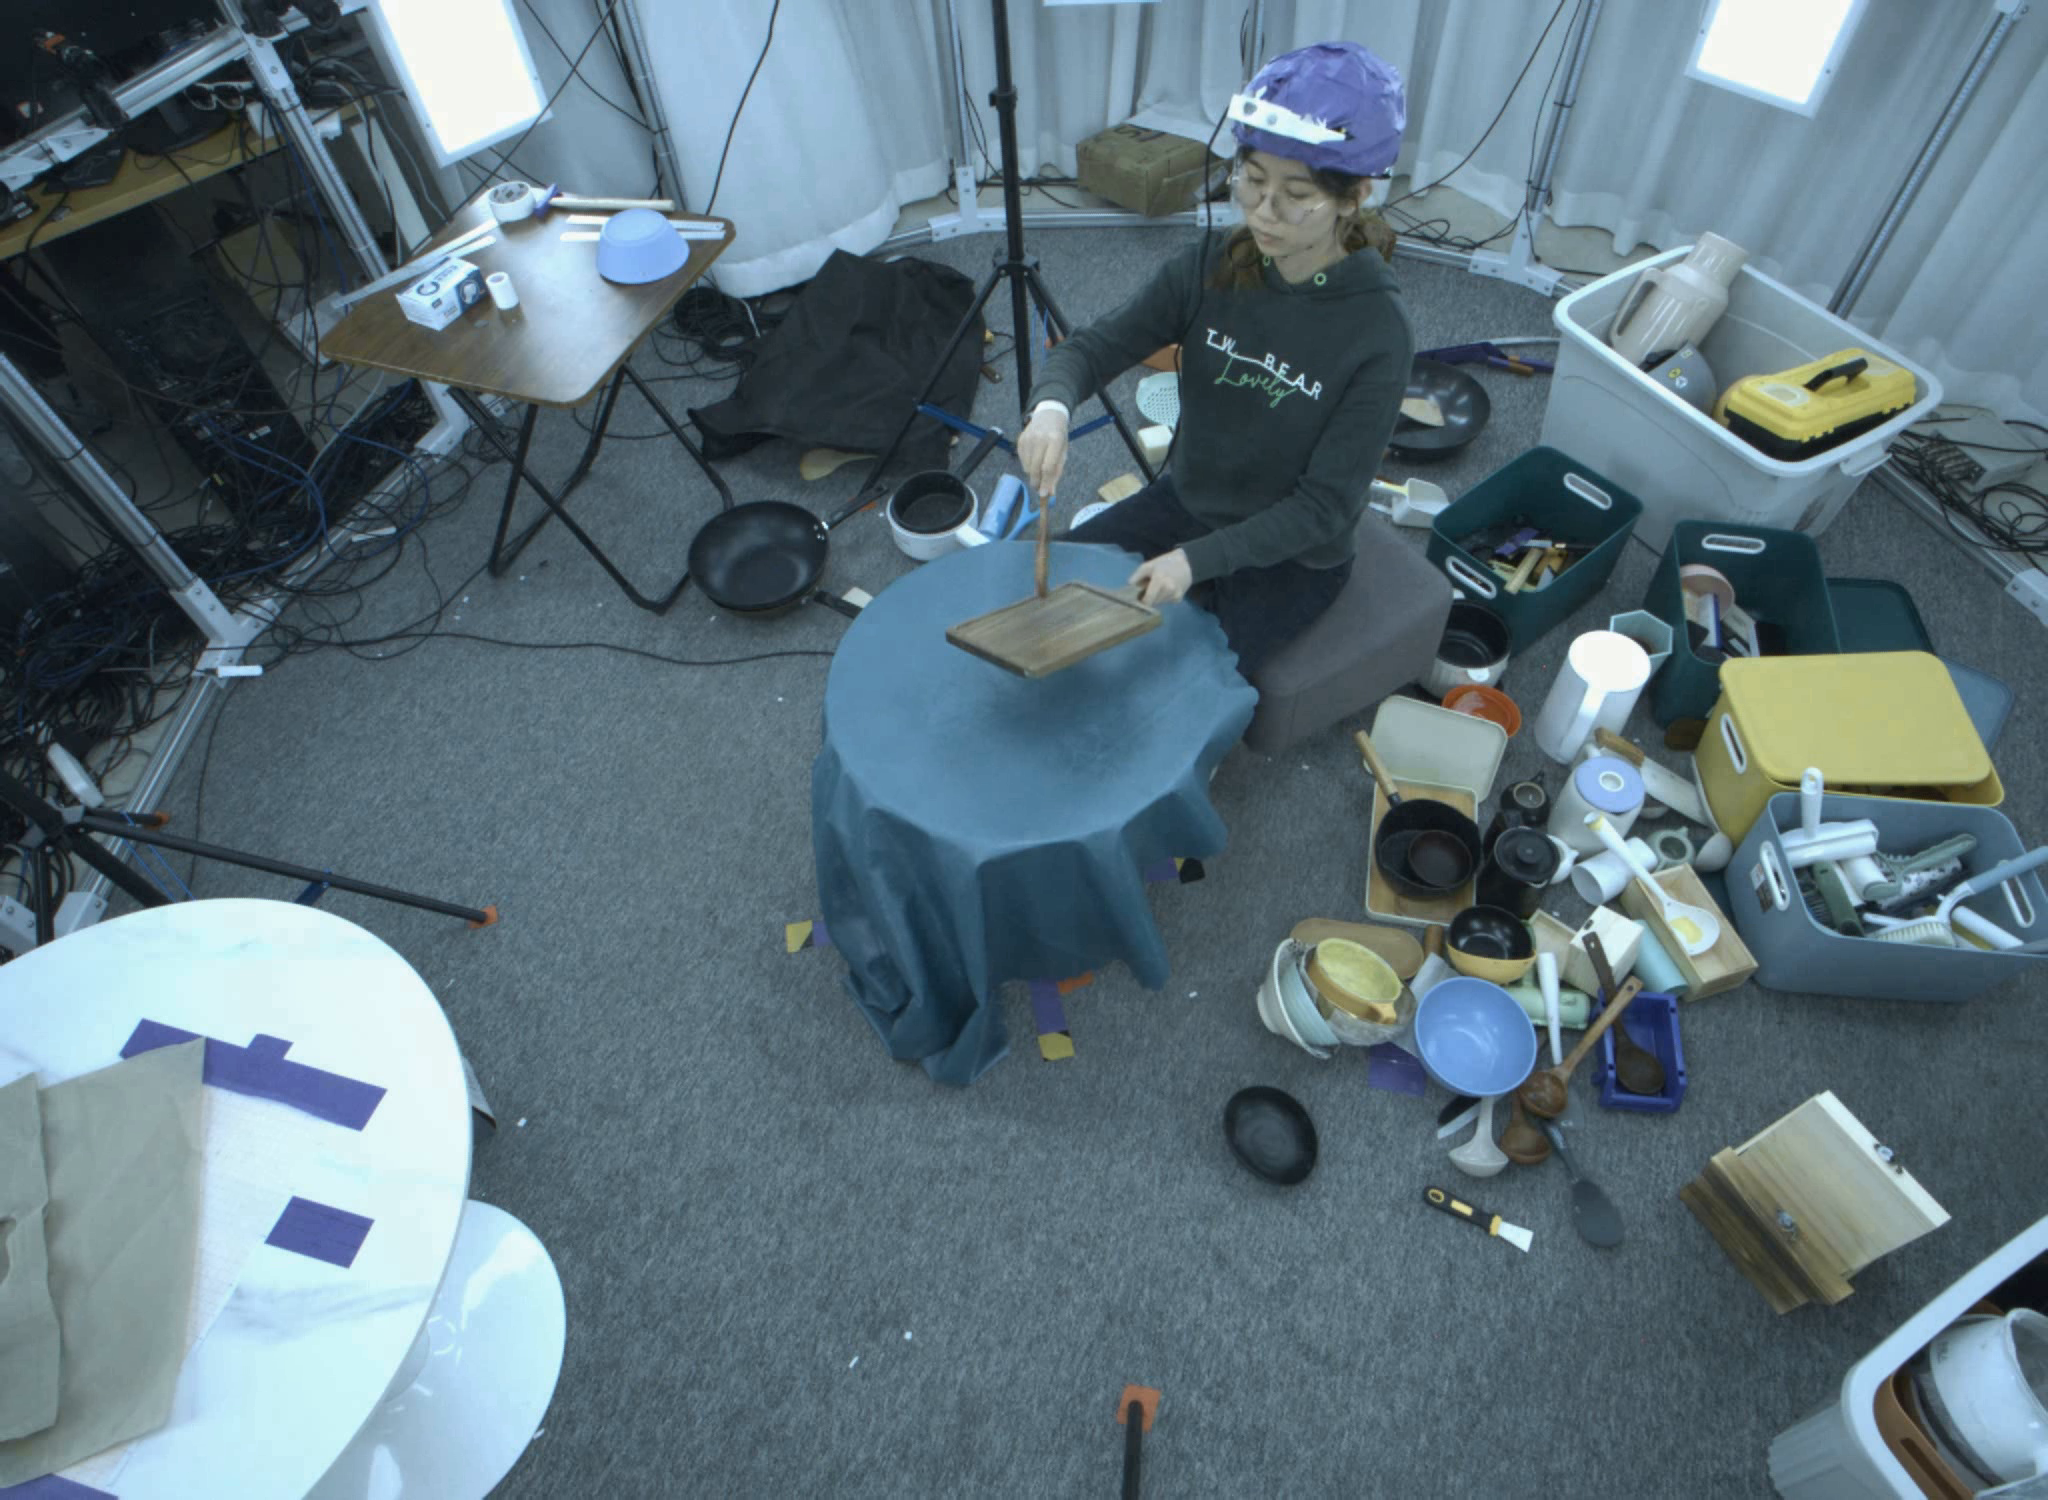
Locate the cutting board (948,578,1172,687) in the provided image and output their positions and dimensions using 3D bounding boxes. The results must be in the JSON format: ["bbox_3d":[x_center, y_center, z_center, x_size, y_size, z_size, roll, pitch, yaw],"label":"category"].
[{"bbox_3d":[0.084,-0.185,1.766,0.357,0.023,0.196,-26,36,-33],"label":"cutting board"}]

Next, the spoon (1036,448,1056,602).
[{"bbox_3d":[0.030,-0.315,1.714,0.017,0.075,0.216,5,100,9],"label":"spoon"}]
